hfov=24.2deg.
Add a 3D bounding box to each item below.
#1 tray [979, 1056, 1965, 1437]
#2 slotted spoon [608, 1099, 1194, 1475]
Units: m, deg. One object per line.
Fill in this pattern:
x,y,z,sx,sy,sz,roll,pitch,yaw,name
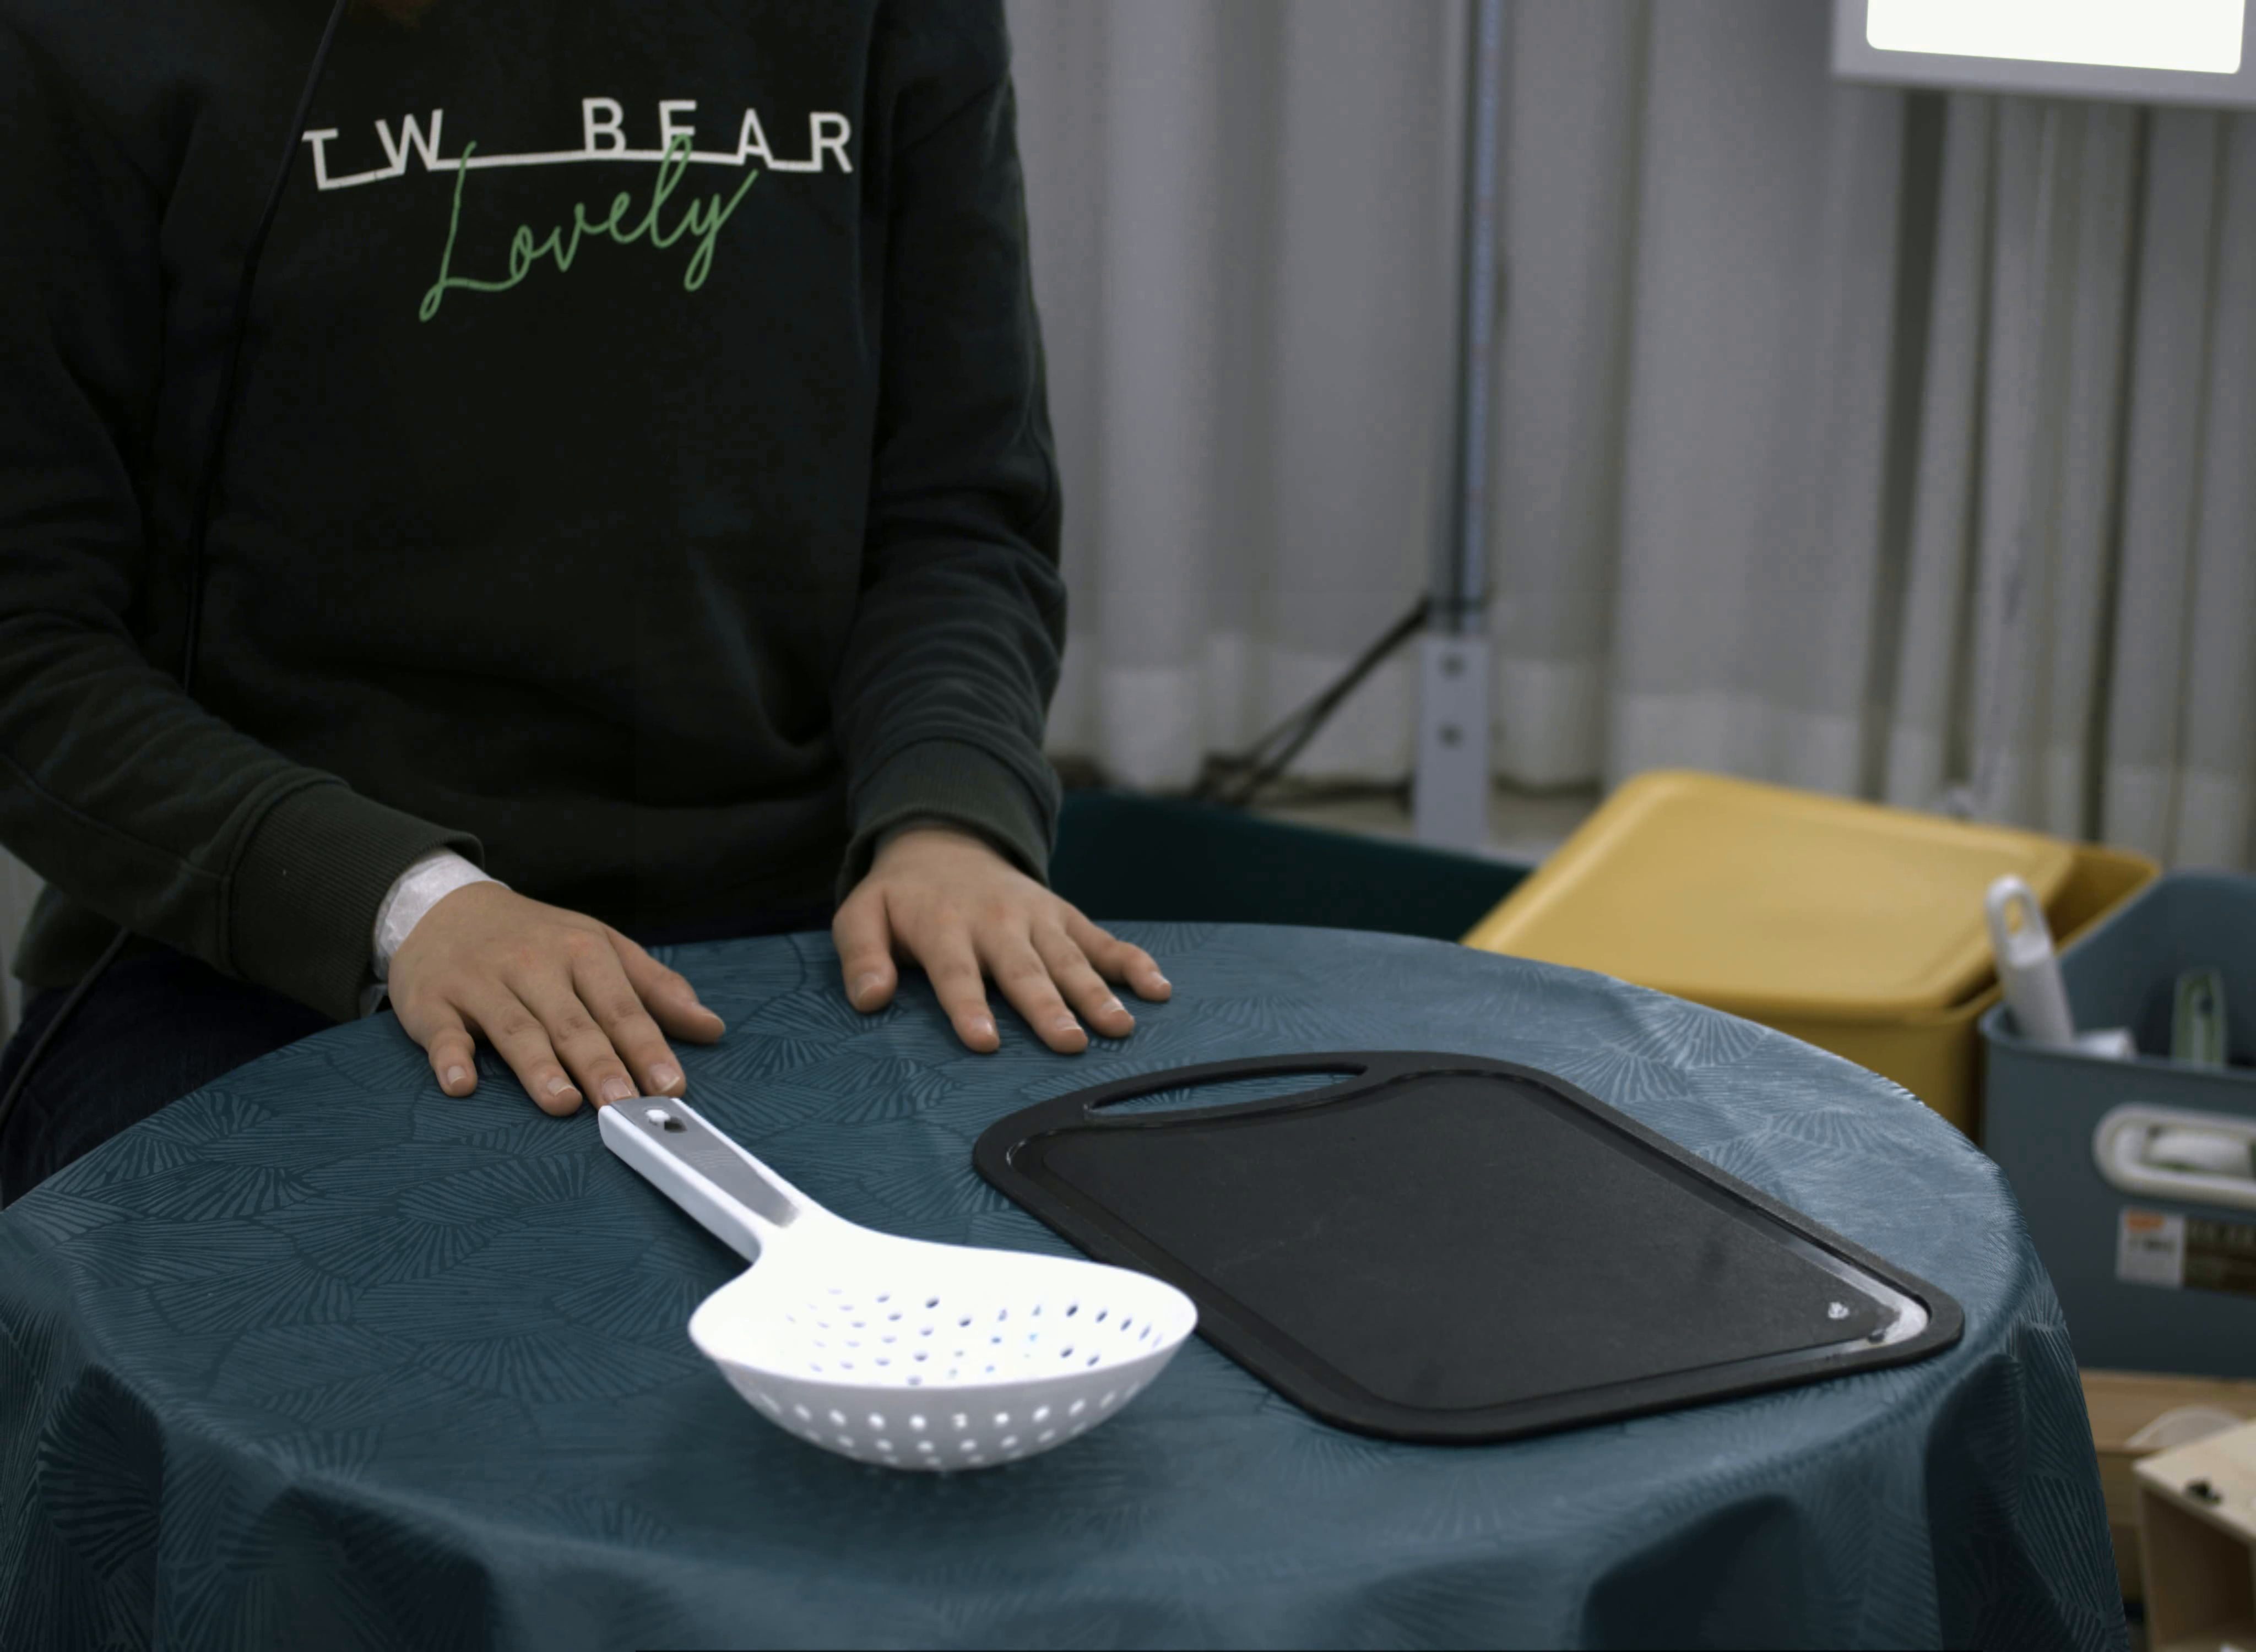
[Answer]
0.093,0.119,1.595,0.212,0.010,0.321,-7,17,-25,tray
-0.090,0.122,1.506,0.136,0.046,0.346,-3,15,-22,slotted spoon
